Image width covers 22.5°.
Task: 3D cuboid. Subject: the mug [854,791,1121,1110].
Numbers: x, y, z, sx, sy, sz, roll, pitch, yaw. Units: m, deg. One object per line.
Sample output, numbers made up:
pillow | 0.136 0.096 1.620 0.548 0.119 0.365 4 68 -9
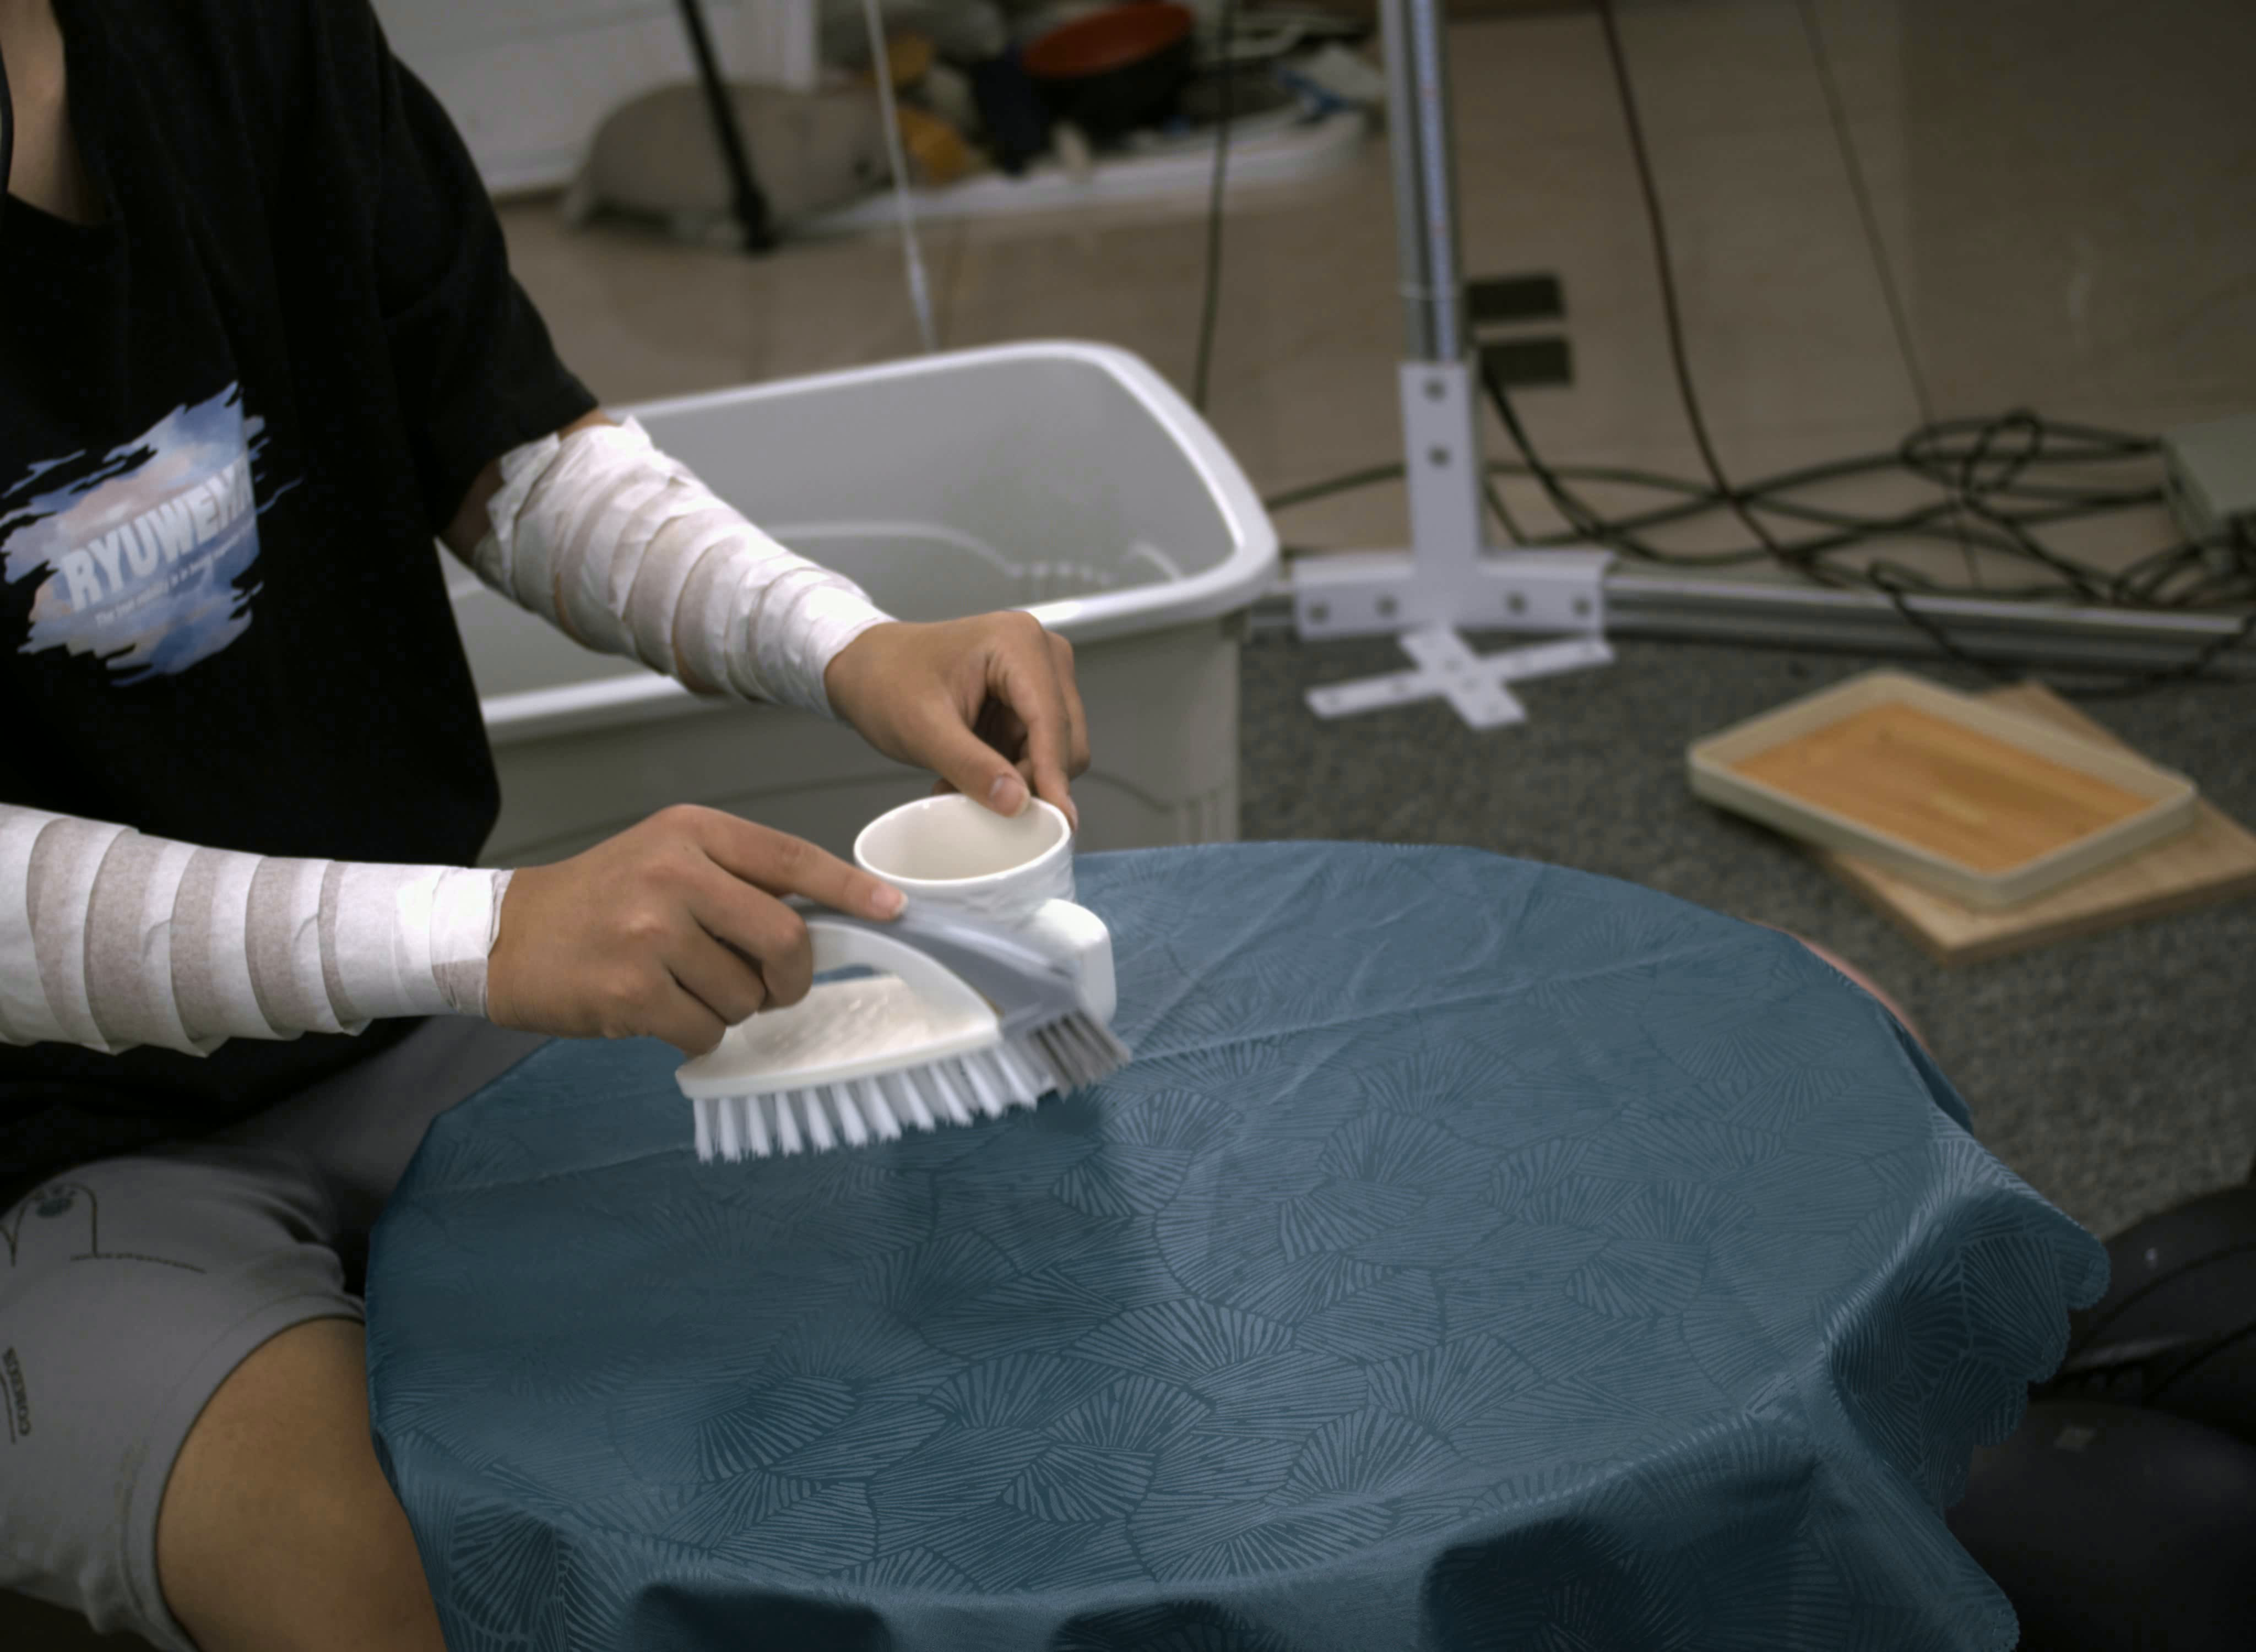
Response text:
mug | -0.048 0.053 2.222 0.117 0.103 0.084 18 35 40

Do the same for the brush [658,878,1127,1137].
brush | -0.092 0.057 2.075 0.175 0.096 0.060 -7 37 27
